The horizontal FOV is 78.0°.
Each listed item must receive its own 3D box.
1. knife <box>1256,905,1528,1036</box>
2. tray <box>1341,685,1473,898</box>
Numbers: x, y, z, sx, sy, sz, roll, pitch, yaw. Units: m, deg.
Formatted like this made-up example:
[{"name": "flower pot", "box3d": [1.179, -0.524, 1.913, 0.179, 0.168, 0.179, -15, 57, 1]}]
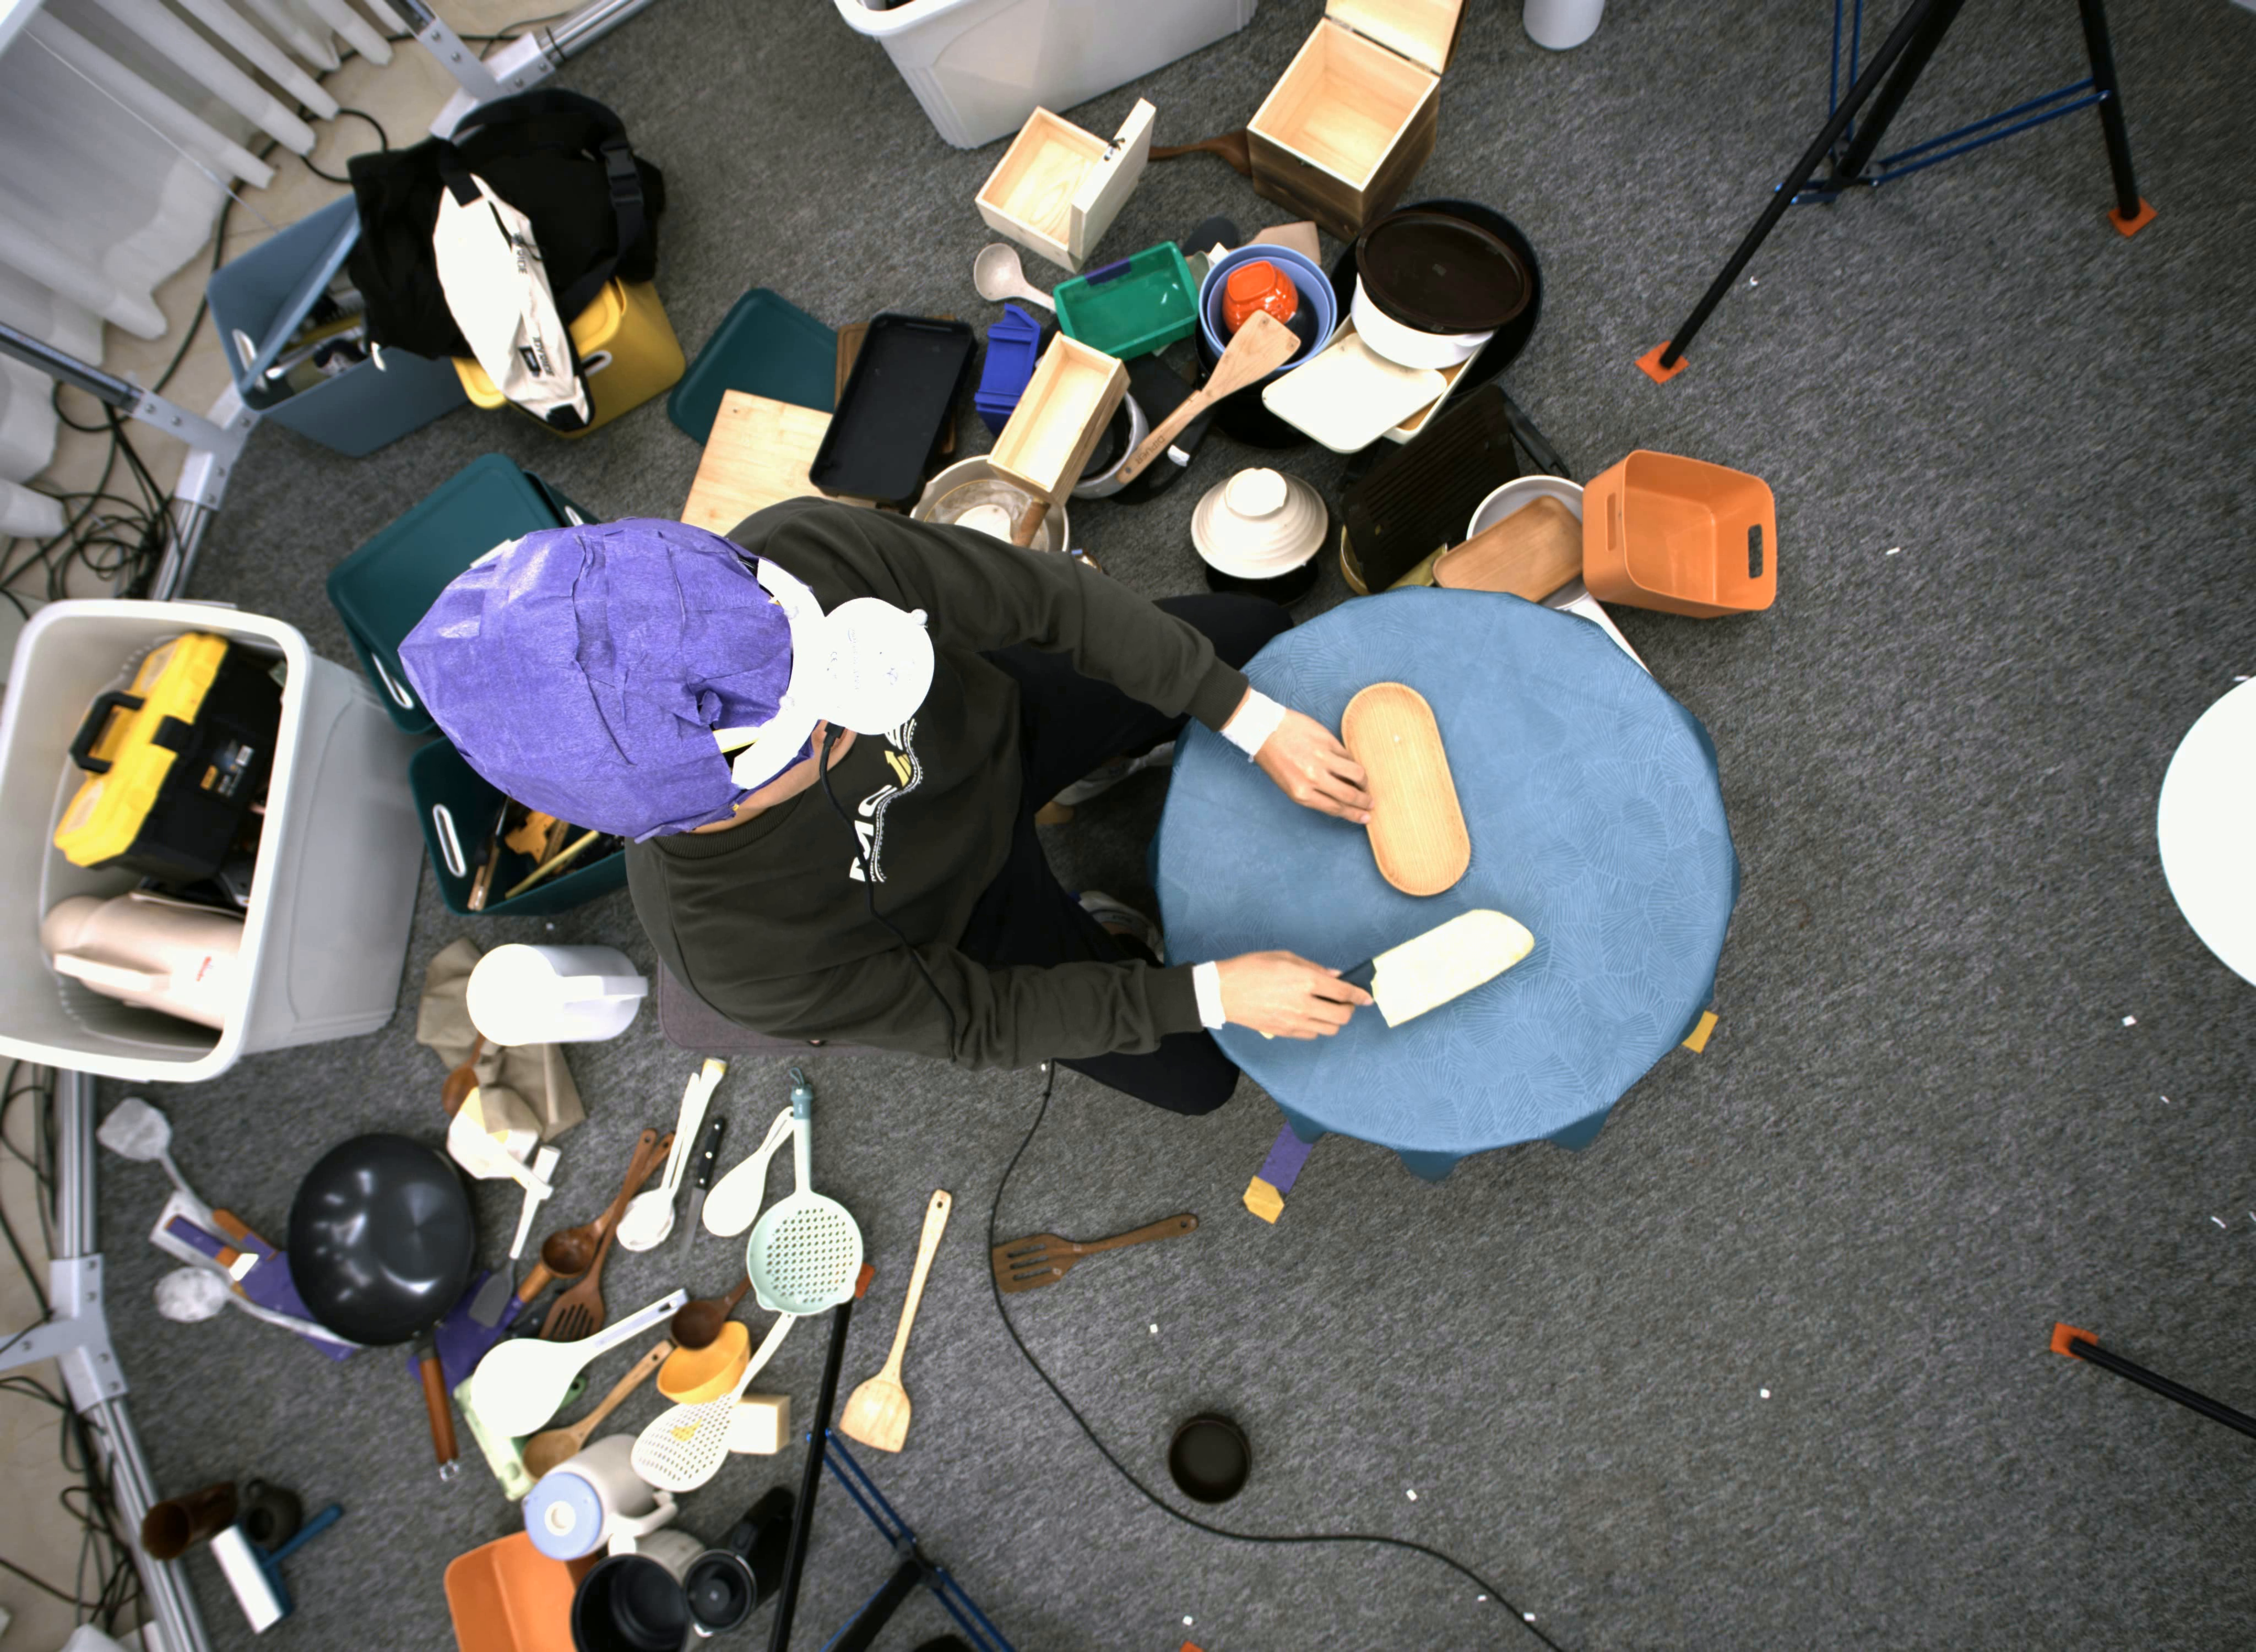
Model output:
[{"name": "knife", "box3d": [0.268, 0.155, 1.392, 0.291, 0.027, 0.081, -24, 101, 7]}, {"name": "tray", "box3d": [0.293, -0.038, 1.449, 0.102, 0.020, 0.230, -15, 86, 3]}]
